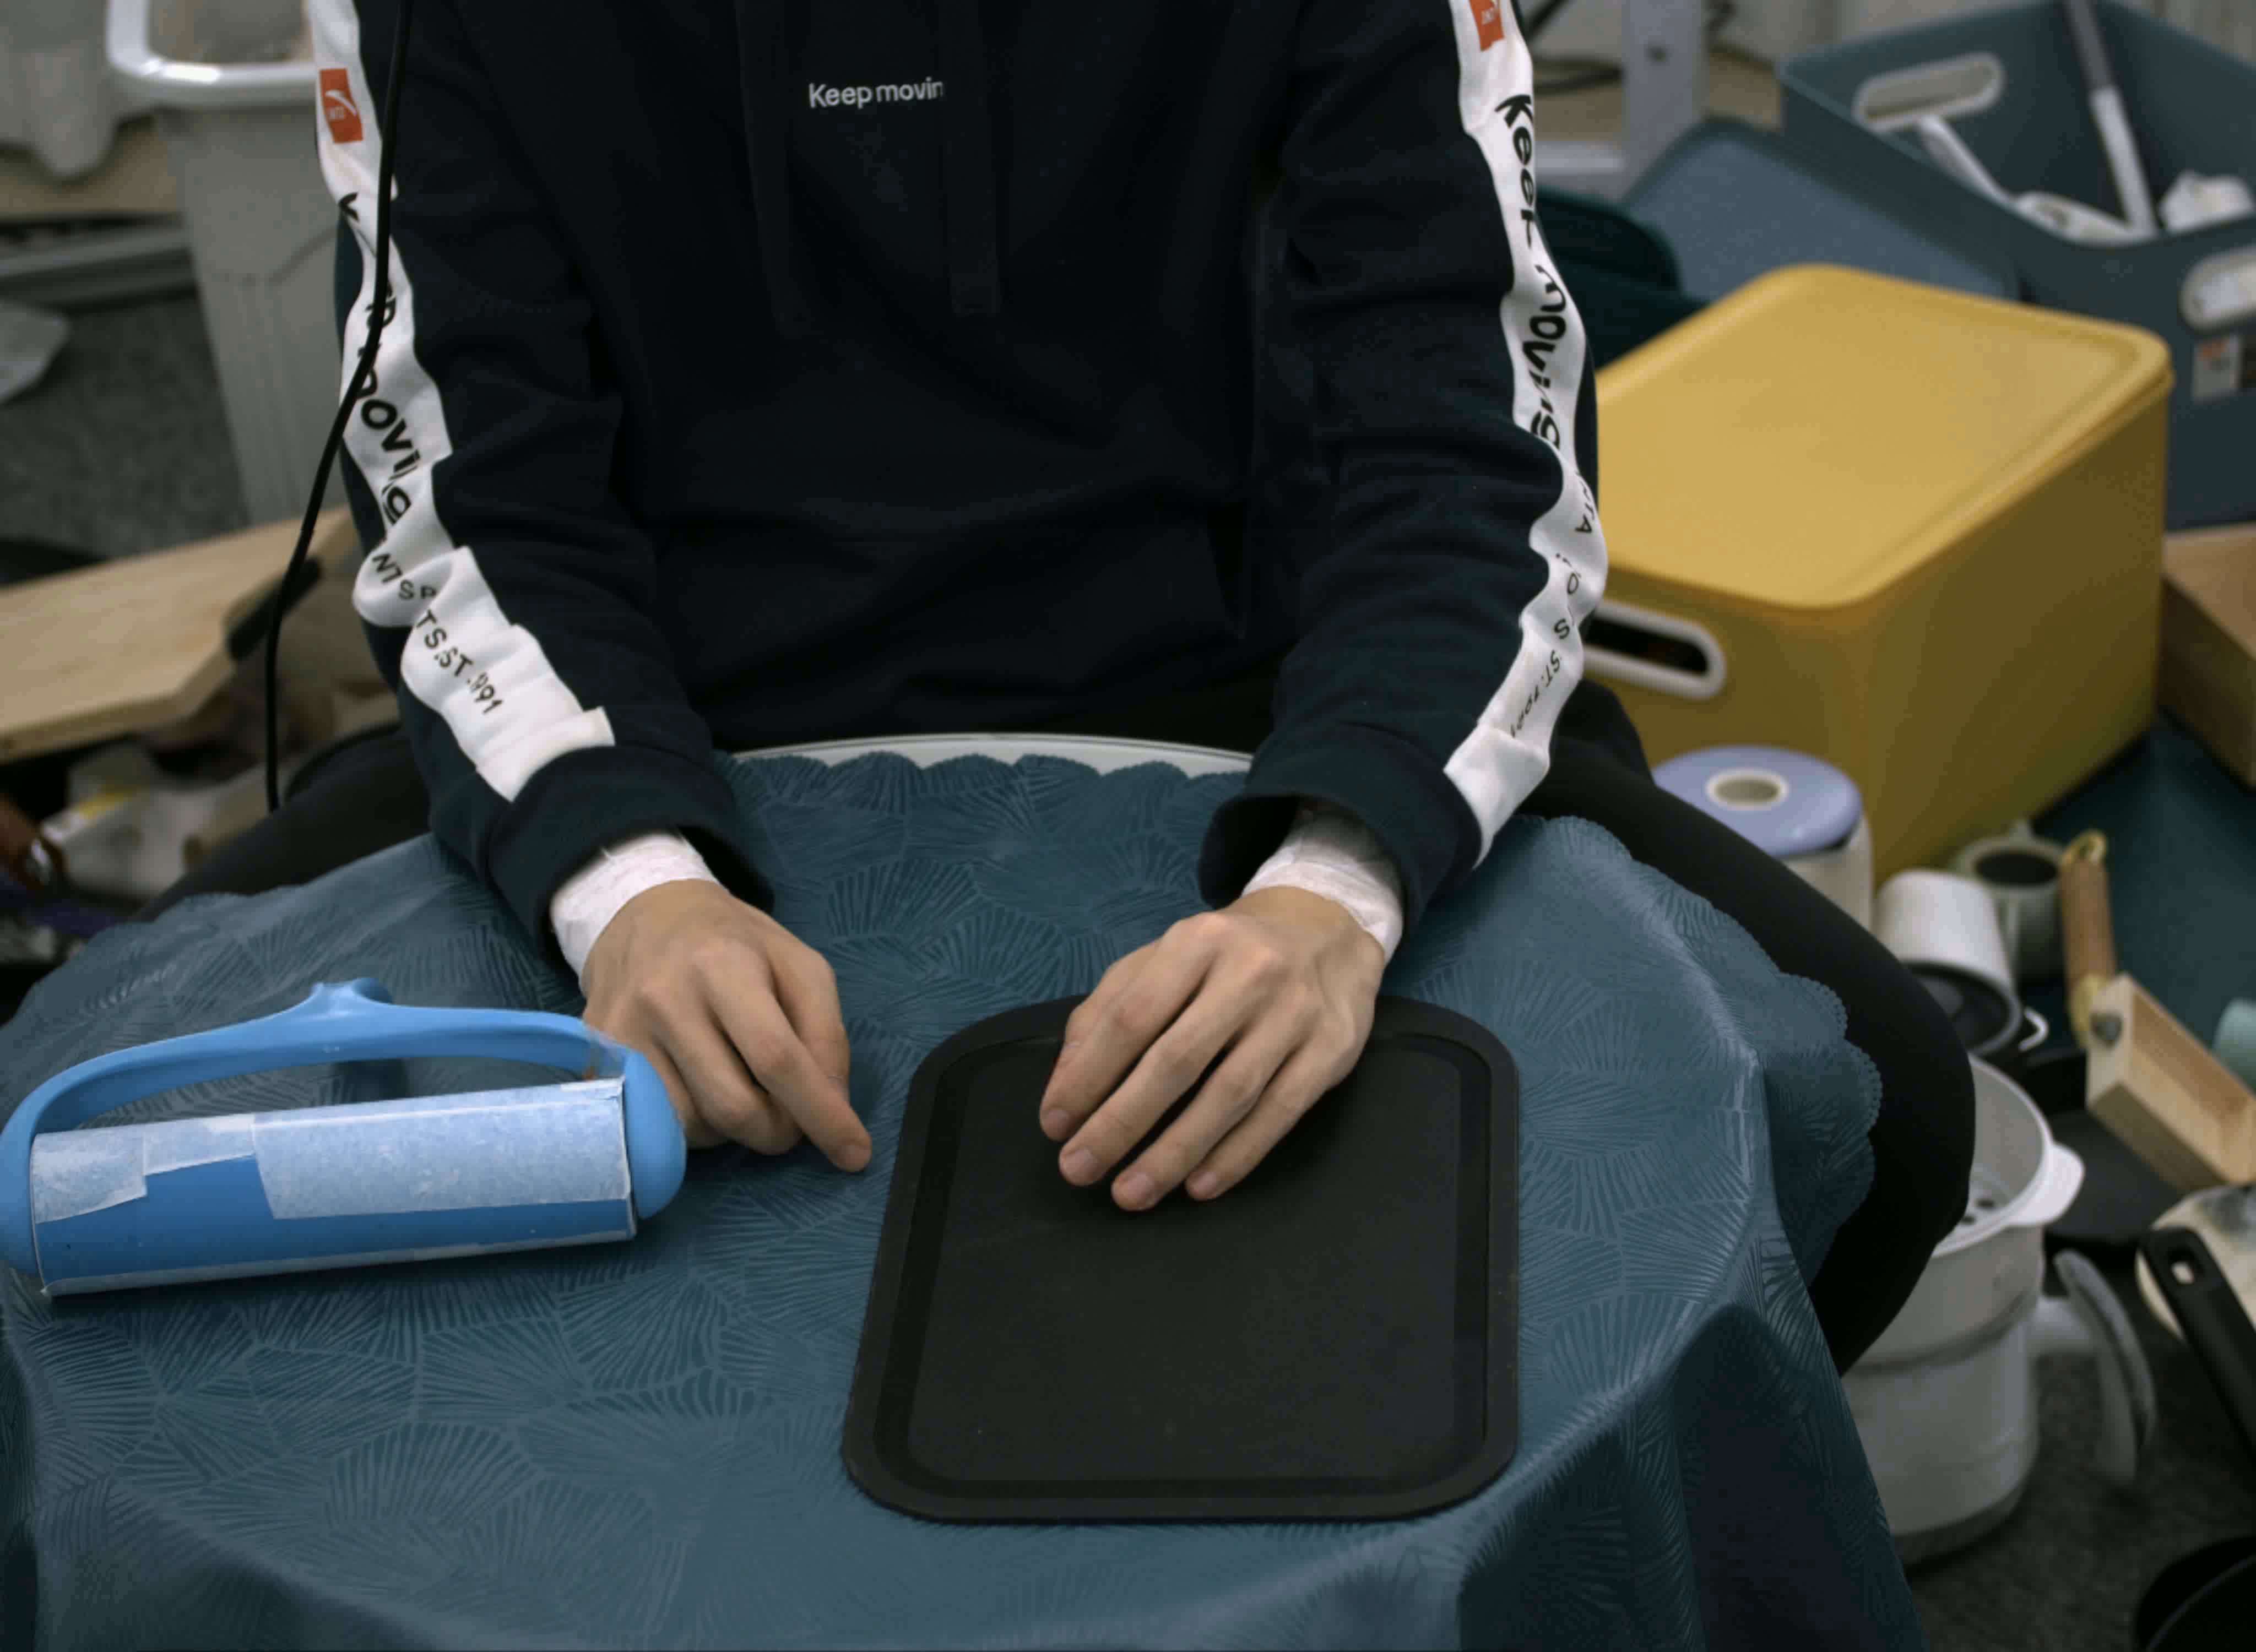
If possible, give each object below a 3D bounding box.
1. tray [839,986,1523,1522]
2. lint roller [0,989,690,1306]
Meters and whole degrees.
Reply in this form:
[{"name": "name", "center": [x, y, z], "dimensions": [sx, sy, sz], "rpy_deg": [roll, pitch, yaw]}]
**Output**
[{"name": "tray", "center": [0.022, 0.132, 1.831], "dimensions": [0.210, 0.009, 0.330], "rpy_deg": [0, 27, 5]}, {"name": "lint roller", "center": [-0.266, 0.091, 1.885], "dimensions": [0.228, 0.067, 0.182], "rpy_deg": [-8, 29, -6]}]
